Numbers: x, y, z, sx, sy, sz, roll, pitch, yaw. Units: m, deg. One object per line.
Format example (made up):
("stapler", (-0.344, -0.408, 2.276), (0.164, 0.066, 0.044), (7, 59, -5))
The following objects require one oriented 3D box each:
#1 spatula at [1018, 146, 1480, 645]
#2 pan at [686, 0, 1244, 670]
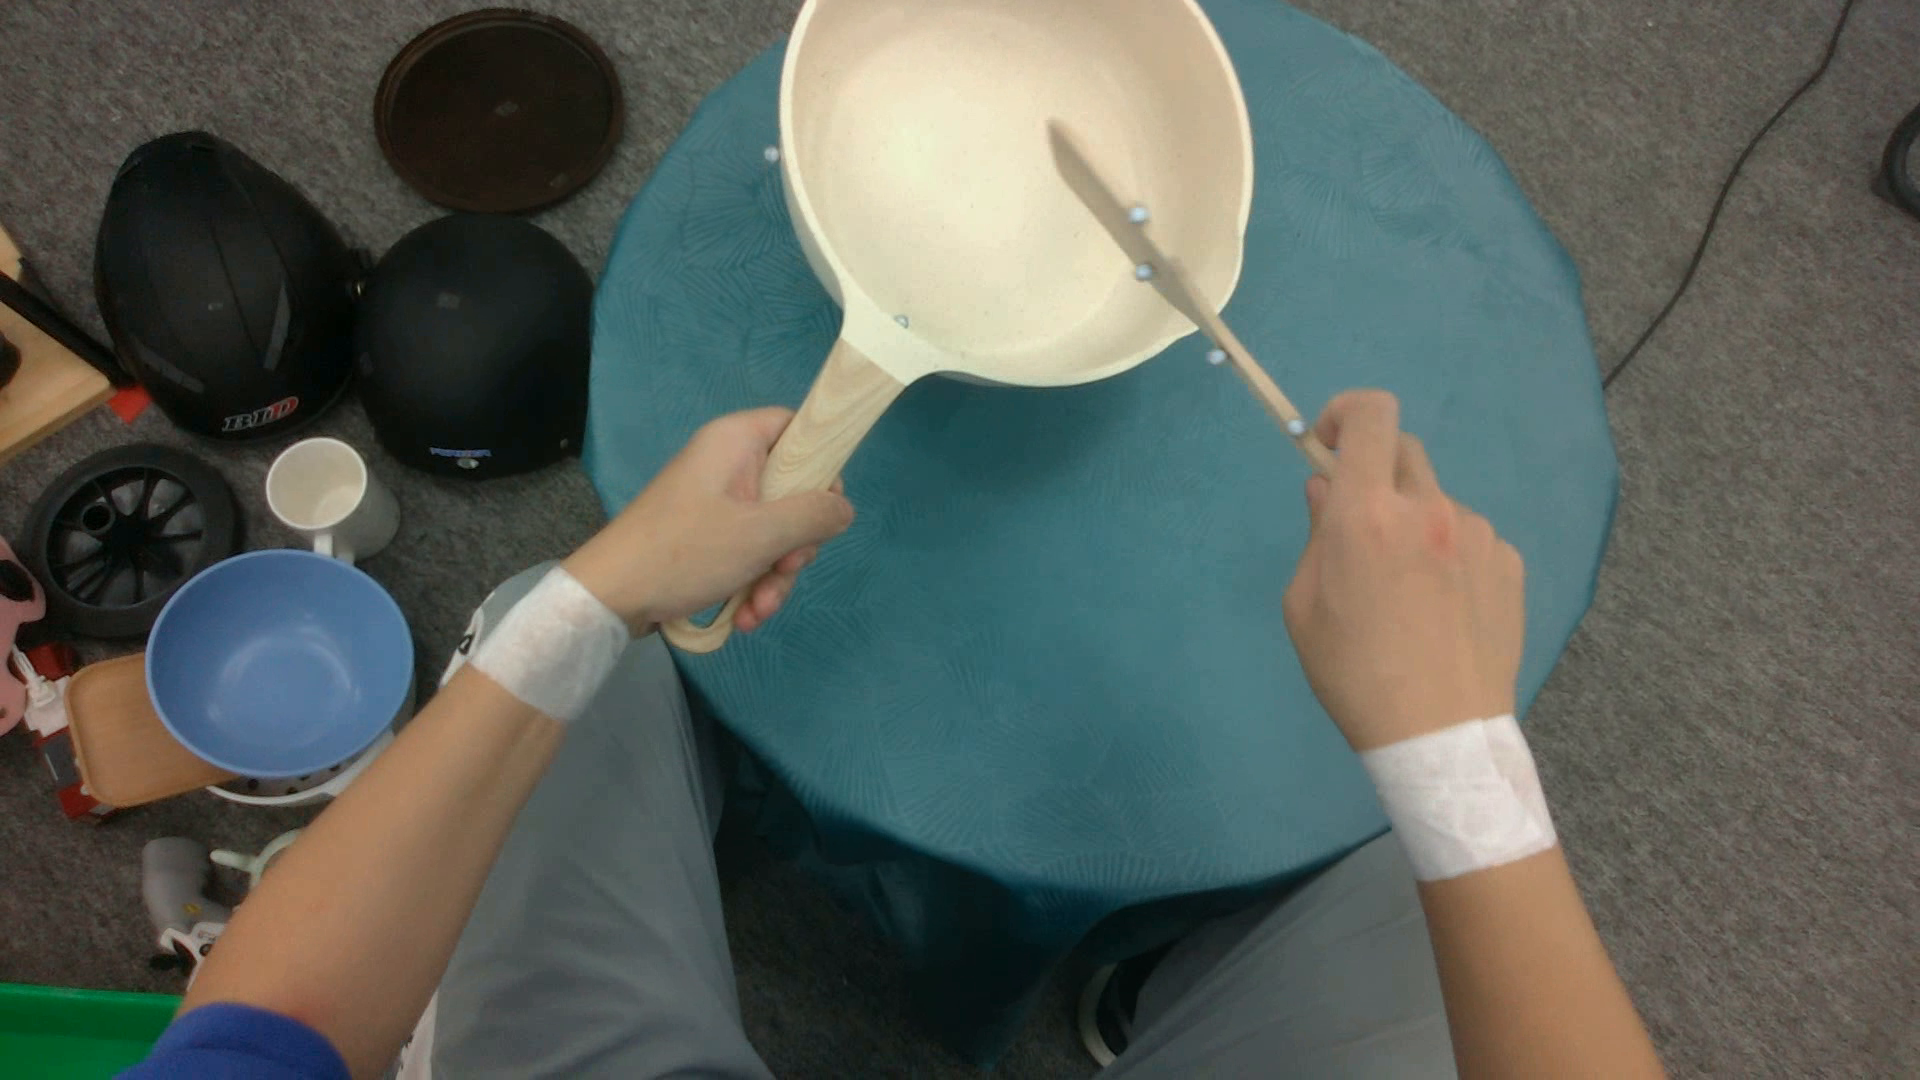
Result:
("spatula", (0.125, -0.067, 0.608), (0.010, 0.072, 0.293), (-42, 76, 7))
("pan", (-0.023, -0.126, 0.711), (0.263, 0.102, 0.436), (34, 77, -14))
